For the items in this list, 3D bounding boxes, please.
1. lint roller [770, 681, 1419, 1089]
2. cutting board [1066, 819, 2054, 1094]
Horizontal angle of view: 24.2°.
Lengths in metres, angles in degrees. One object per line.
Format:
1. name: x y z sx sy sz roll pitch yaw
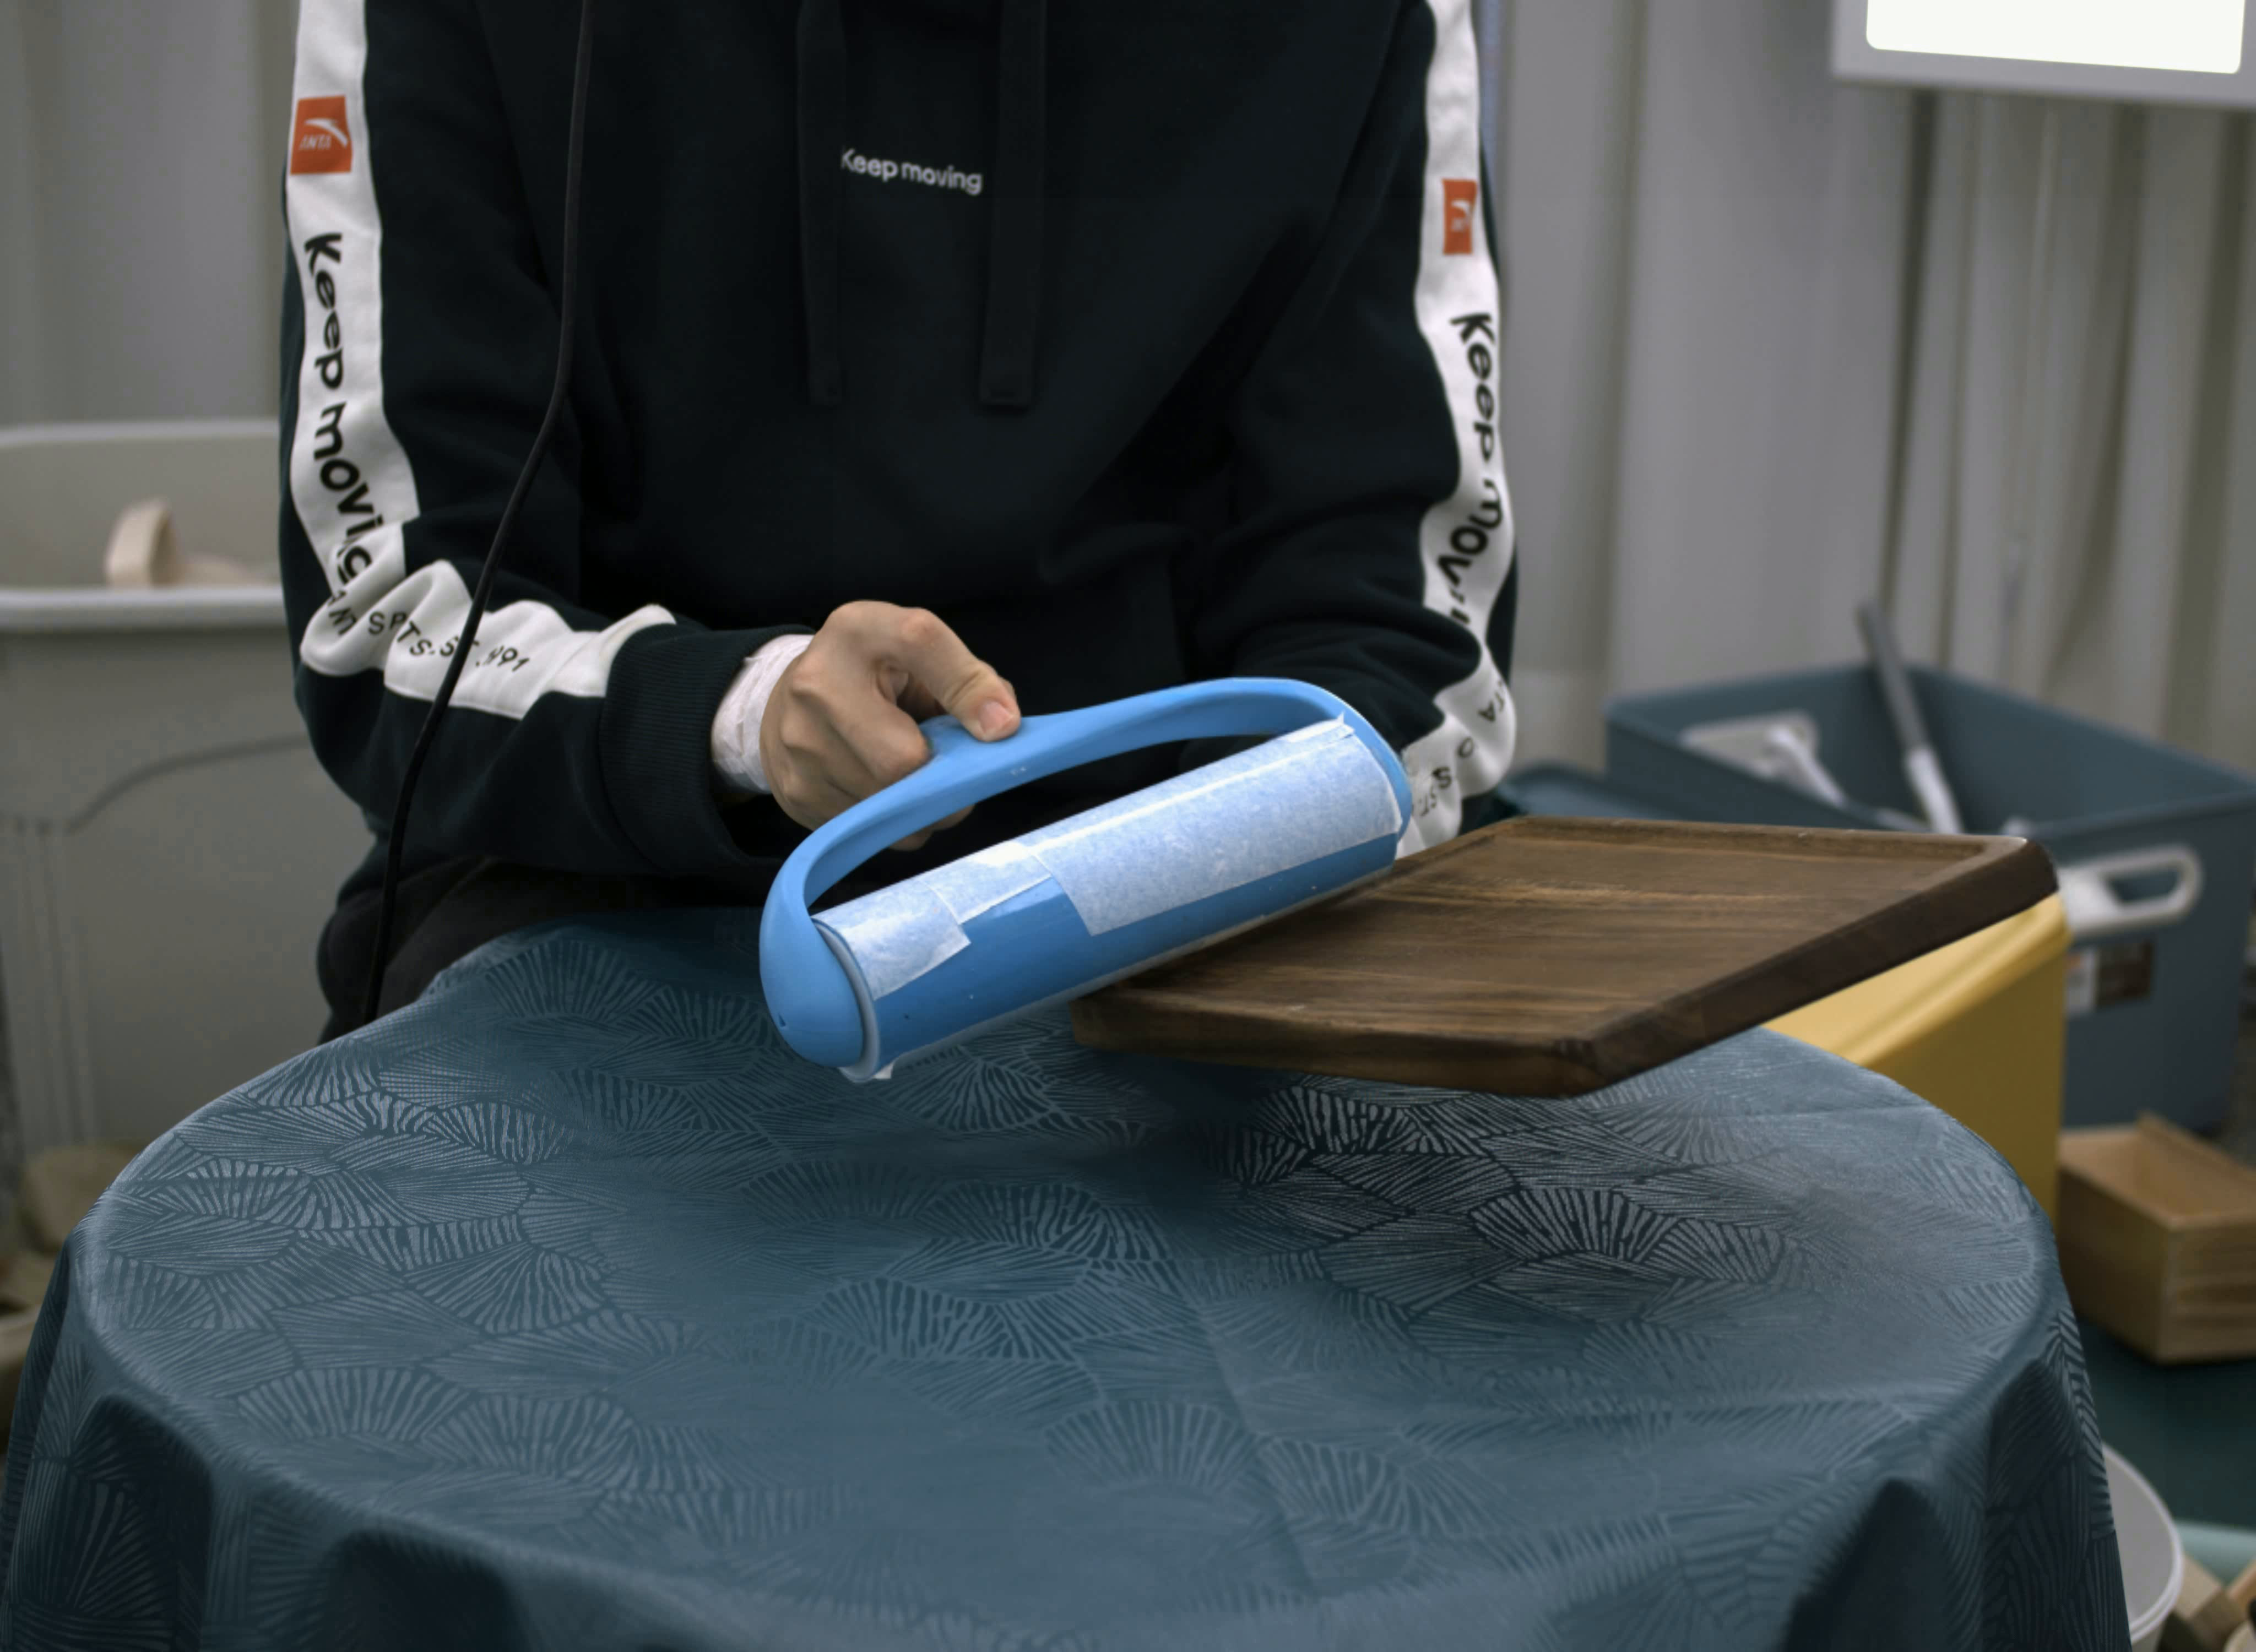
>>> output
1. lint roller: -0.041 0.000 1.678 0.229 0.069 0.177 -24 36 -28
2. cutting board: 0.099 0.035 1.641 0.202 0.023 0.348 -20 13 -34
